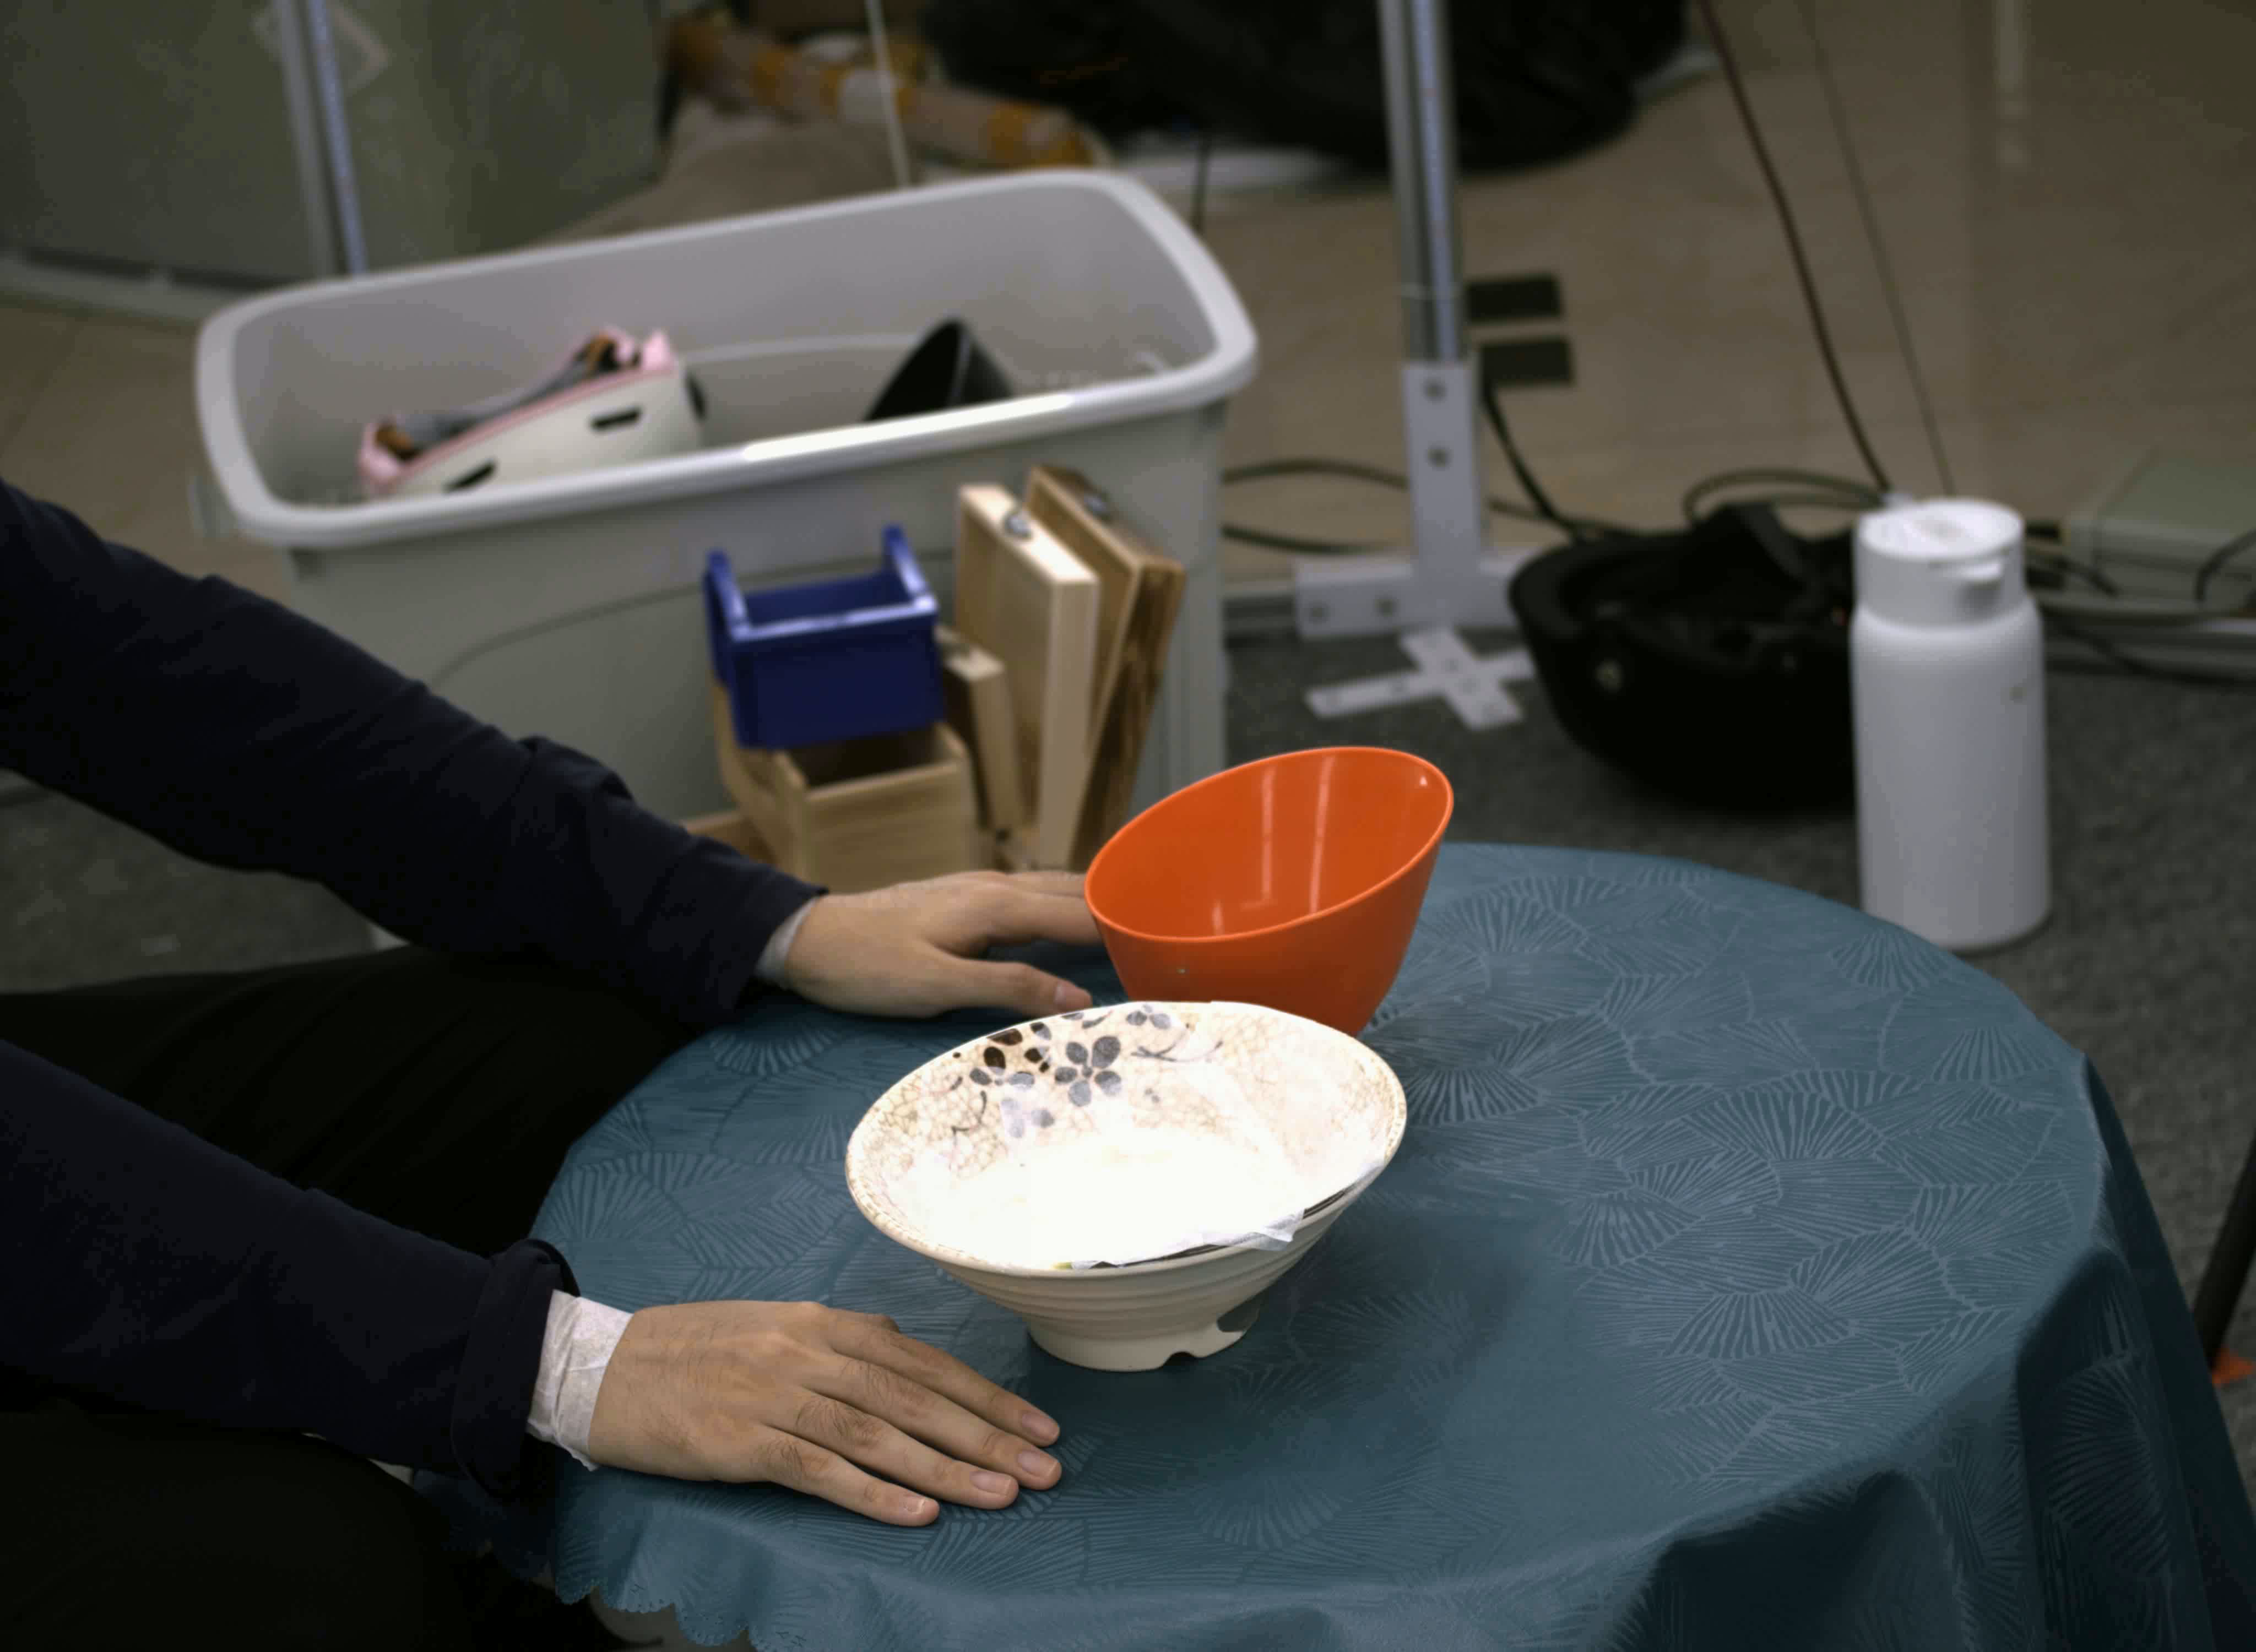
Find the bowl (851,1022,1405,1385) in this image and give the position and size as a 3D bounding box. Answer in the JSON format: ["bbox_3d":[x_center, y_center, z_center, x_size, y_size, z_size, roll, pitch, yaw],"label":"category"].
[{"bbox_3d":[0.007,0.148,2.051,0.204,0.079,0.201,-11,21,4],"label":"bowl"}]

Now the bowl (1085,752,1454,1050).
[{"bbox_3d":[0.060,0.045,2.220,0.148,0.106,0.146,-7,25,3],"label":"bowl"}]
